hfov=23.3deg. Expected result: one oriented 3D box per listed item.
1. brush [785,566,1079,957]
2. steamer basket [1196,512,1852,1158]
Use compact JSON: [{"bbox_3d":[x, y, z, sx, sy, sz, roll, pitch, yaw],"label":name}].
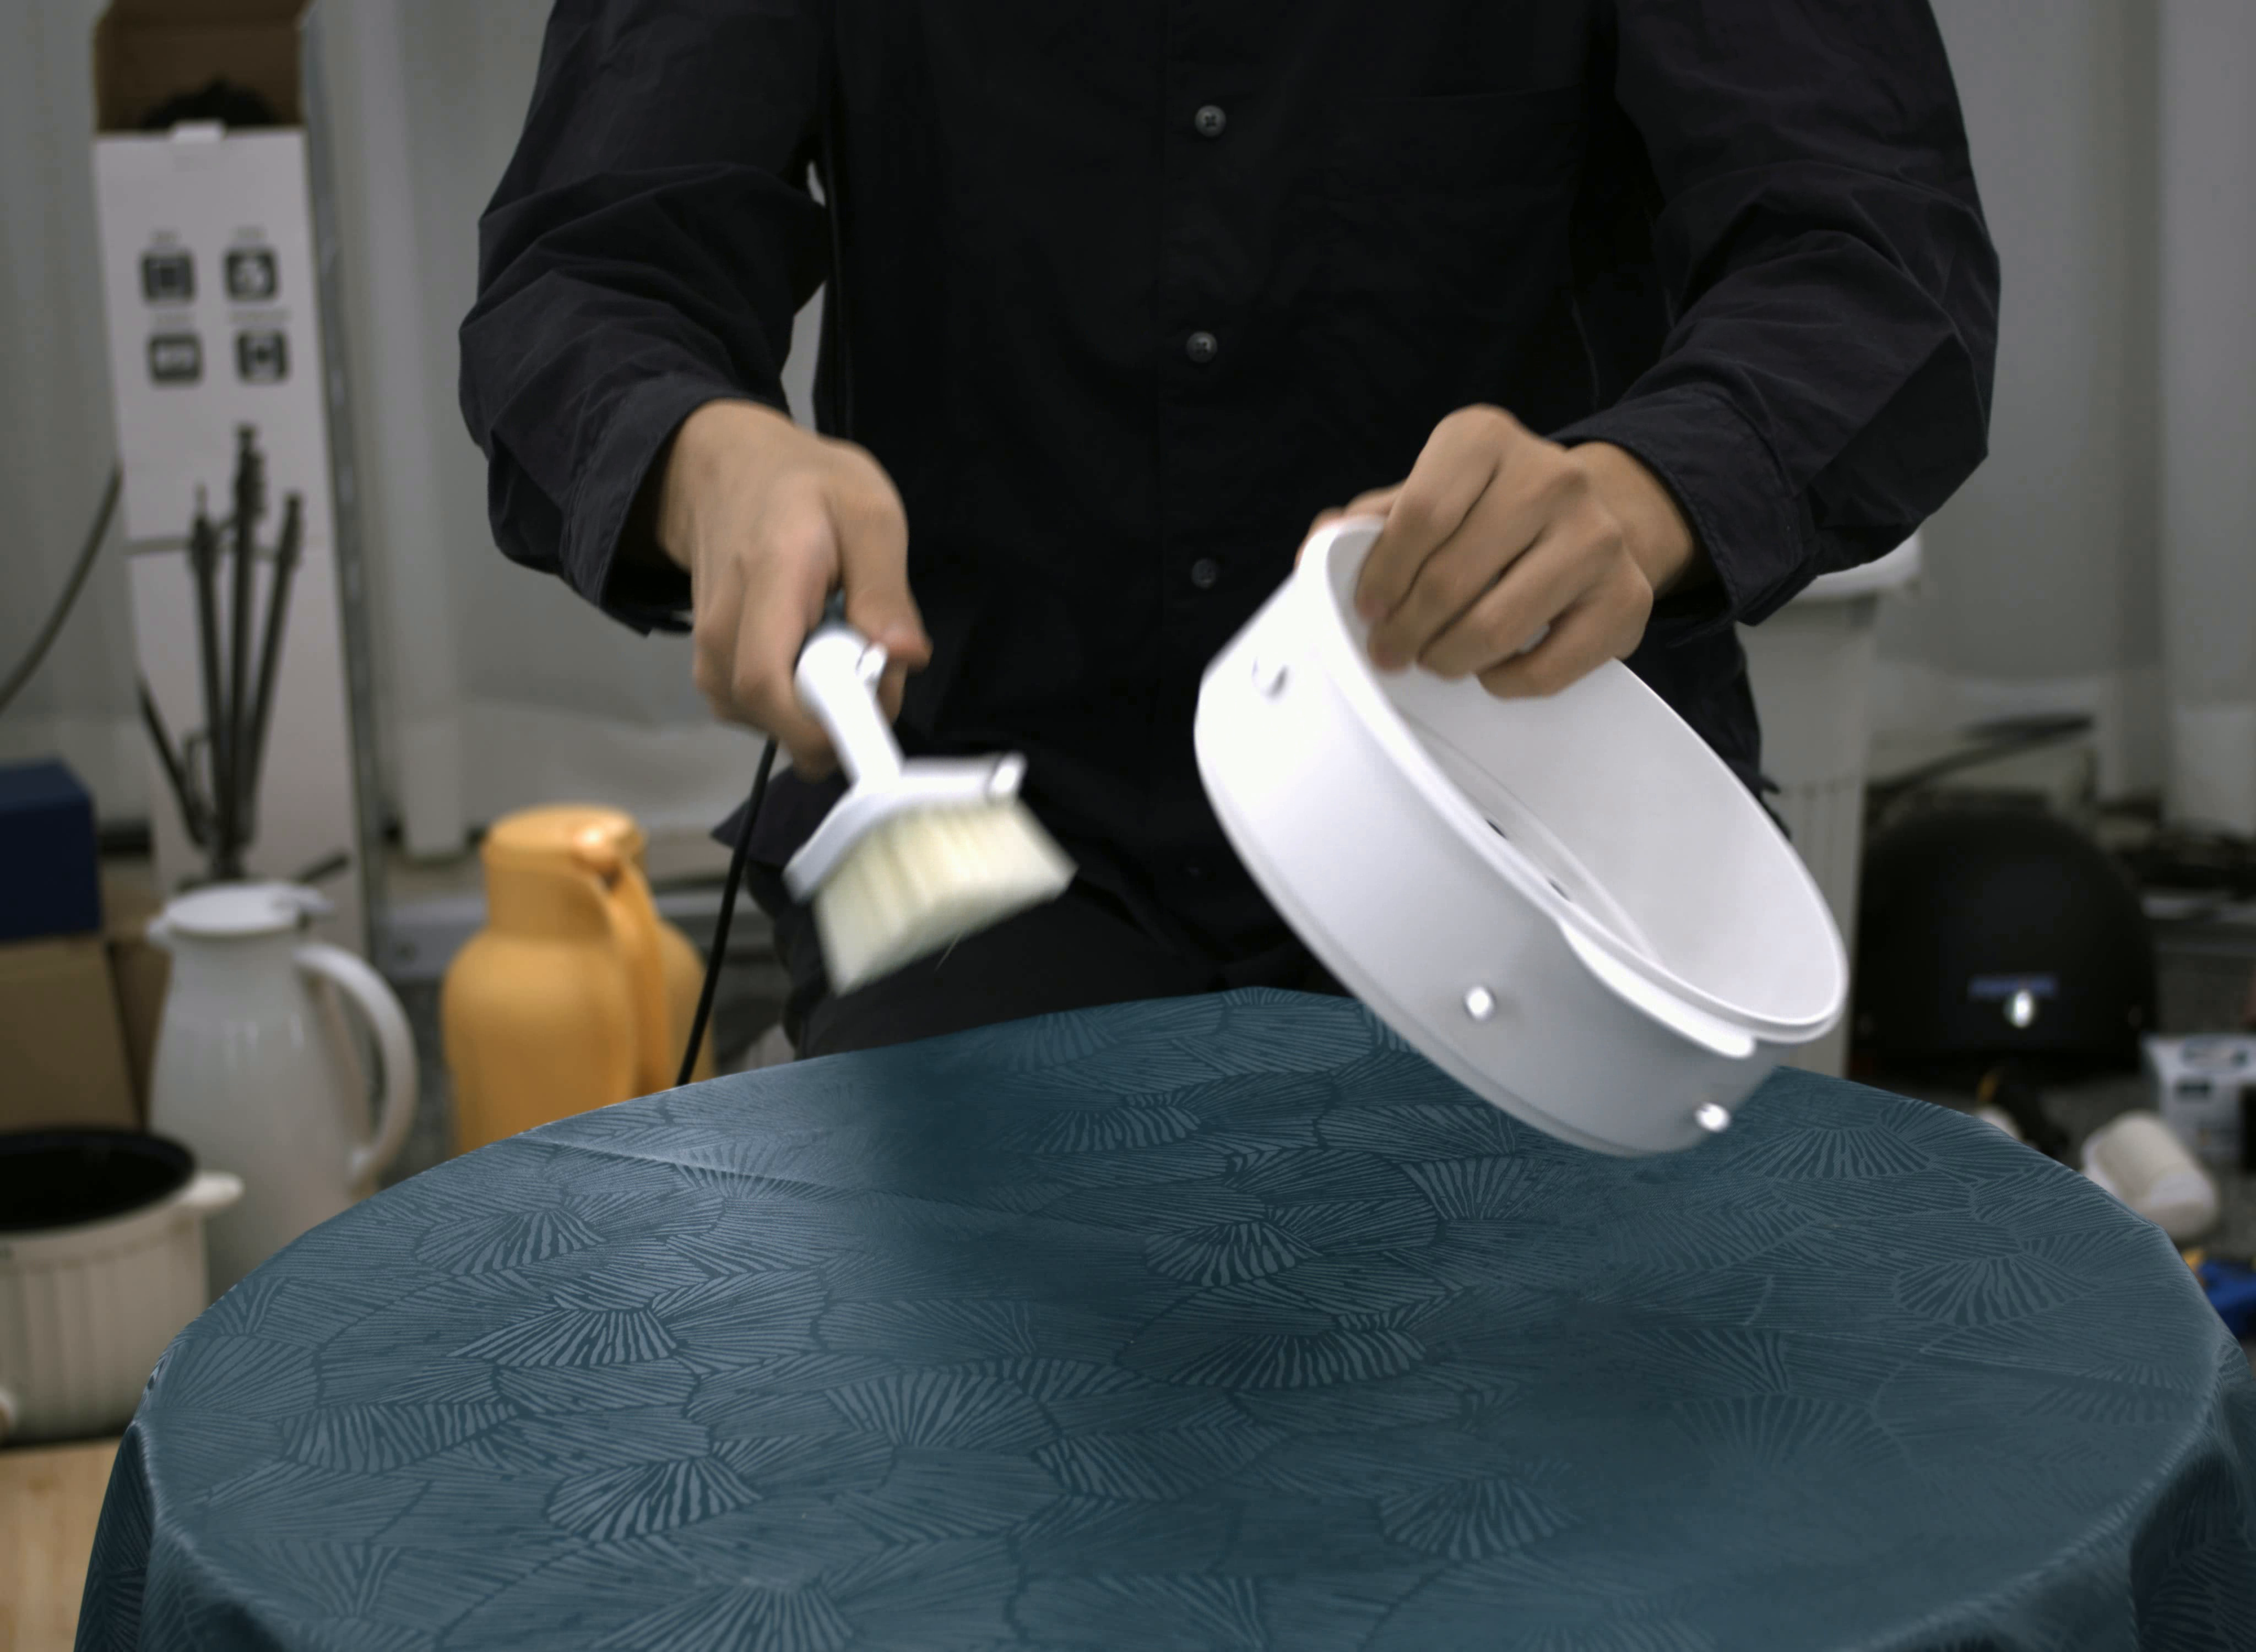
[{"bbox_3d":[-0.059,-0.013,1.600,0.082,0.084,0.327,8,9,-7],"label":"brush"},{"bbox_3d":[0.110,0.005,1.545,0.200,0.069,0.234,31,25,-28],"label":"steamer basket"}]
